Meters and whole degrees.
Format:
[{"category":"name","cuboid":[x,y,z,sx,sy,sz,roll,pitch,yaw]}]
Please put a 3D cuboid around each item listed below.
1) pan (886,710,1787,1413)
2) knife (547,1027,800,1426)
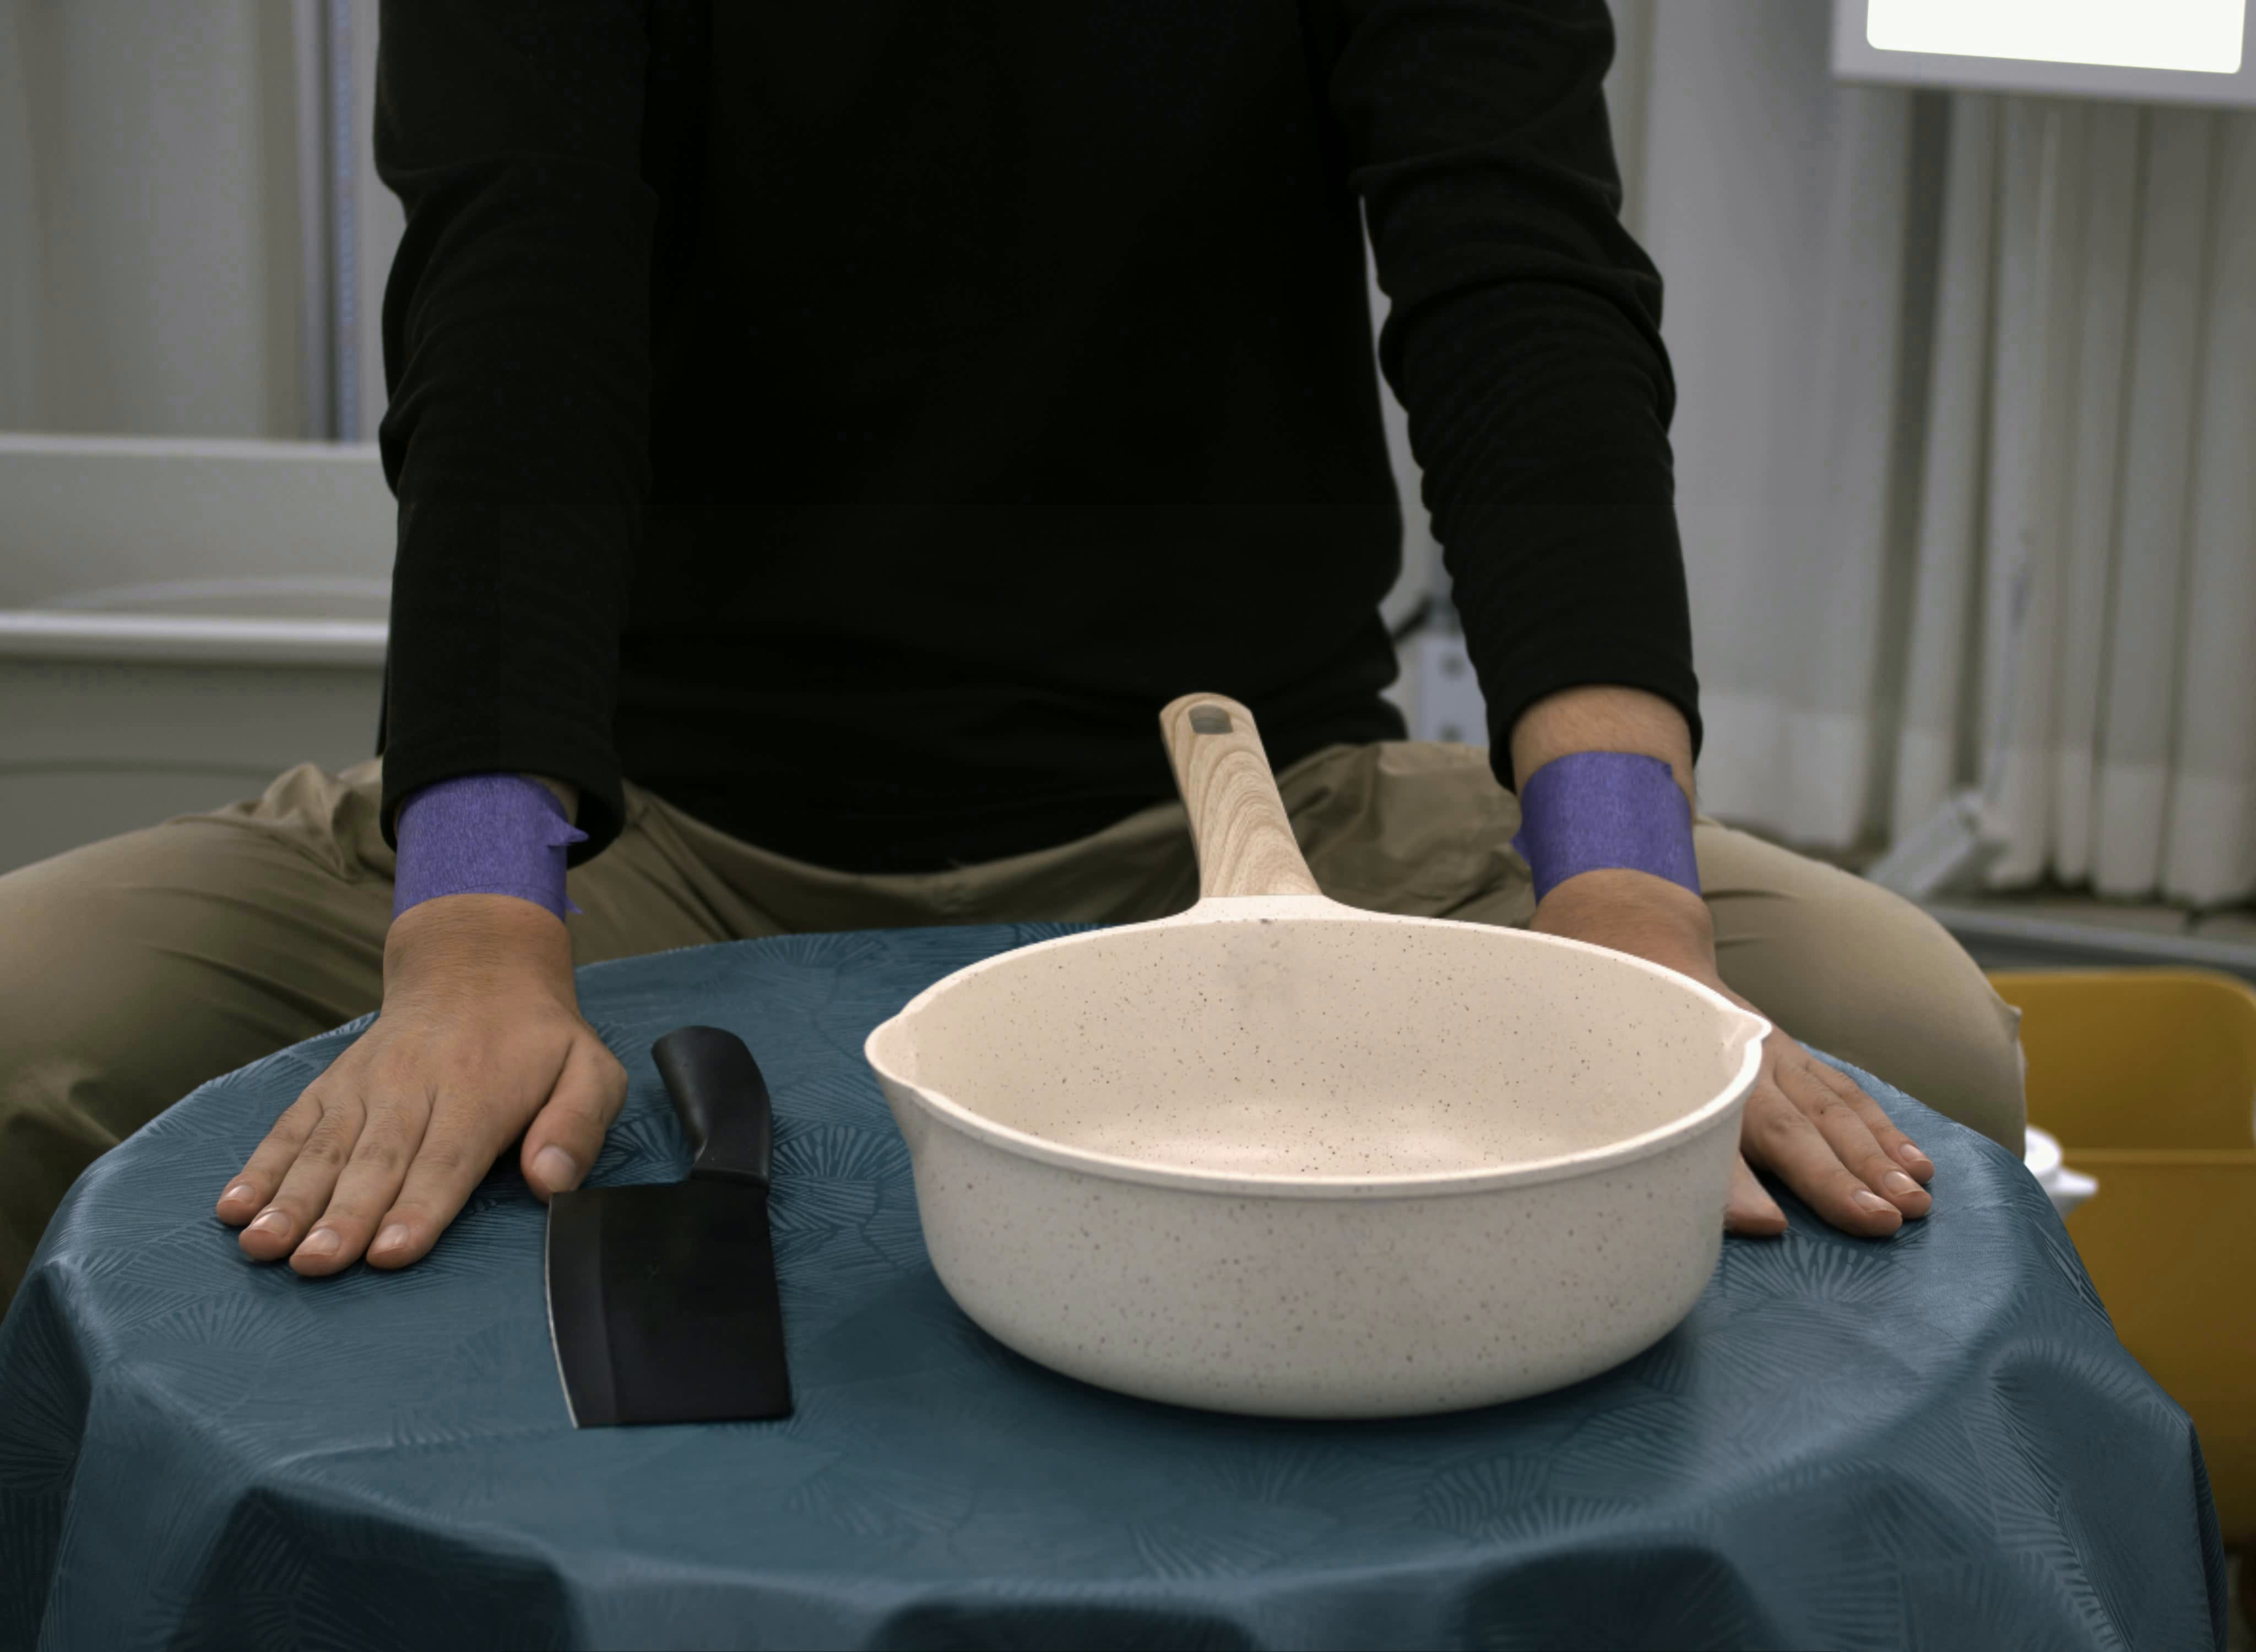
[{"category":"pan","cuboid":[0.051,0.066,1.606,0.263,0.103,0.431,-3,16,-7]},{"category":"knife","cuboid":[-0.134,0.118,1.574,0.080,0.021,0.300,-1,17,-1]}]
